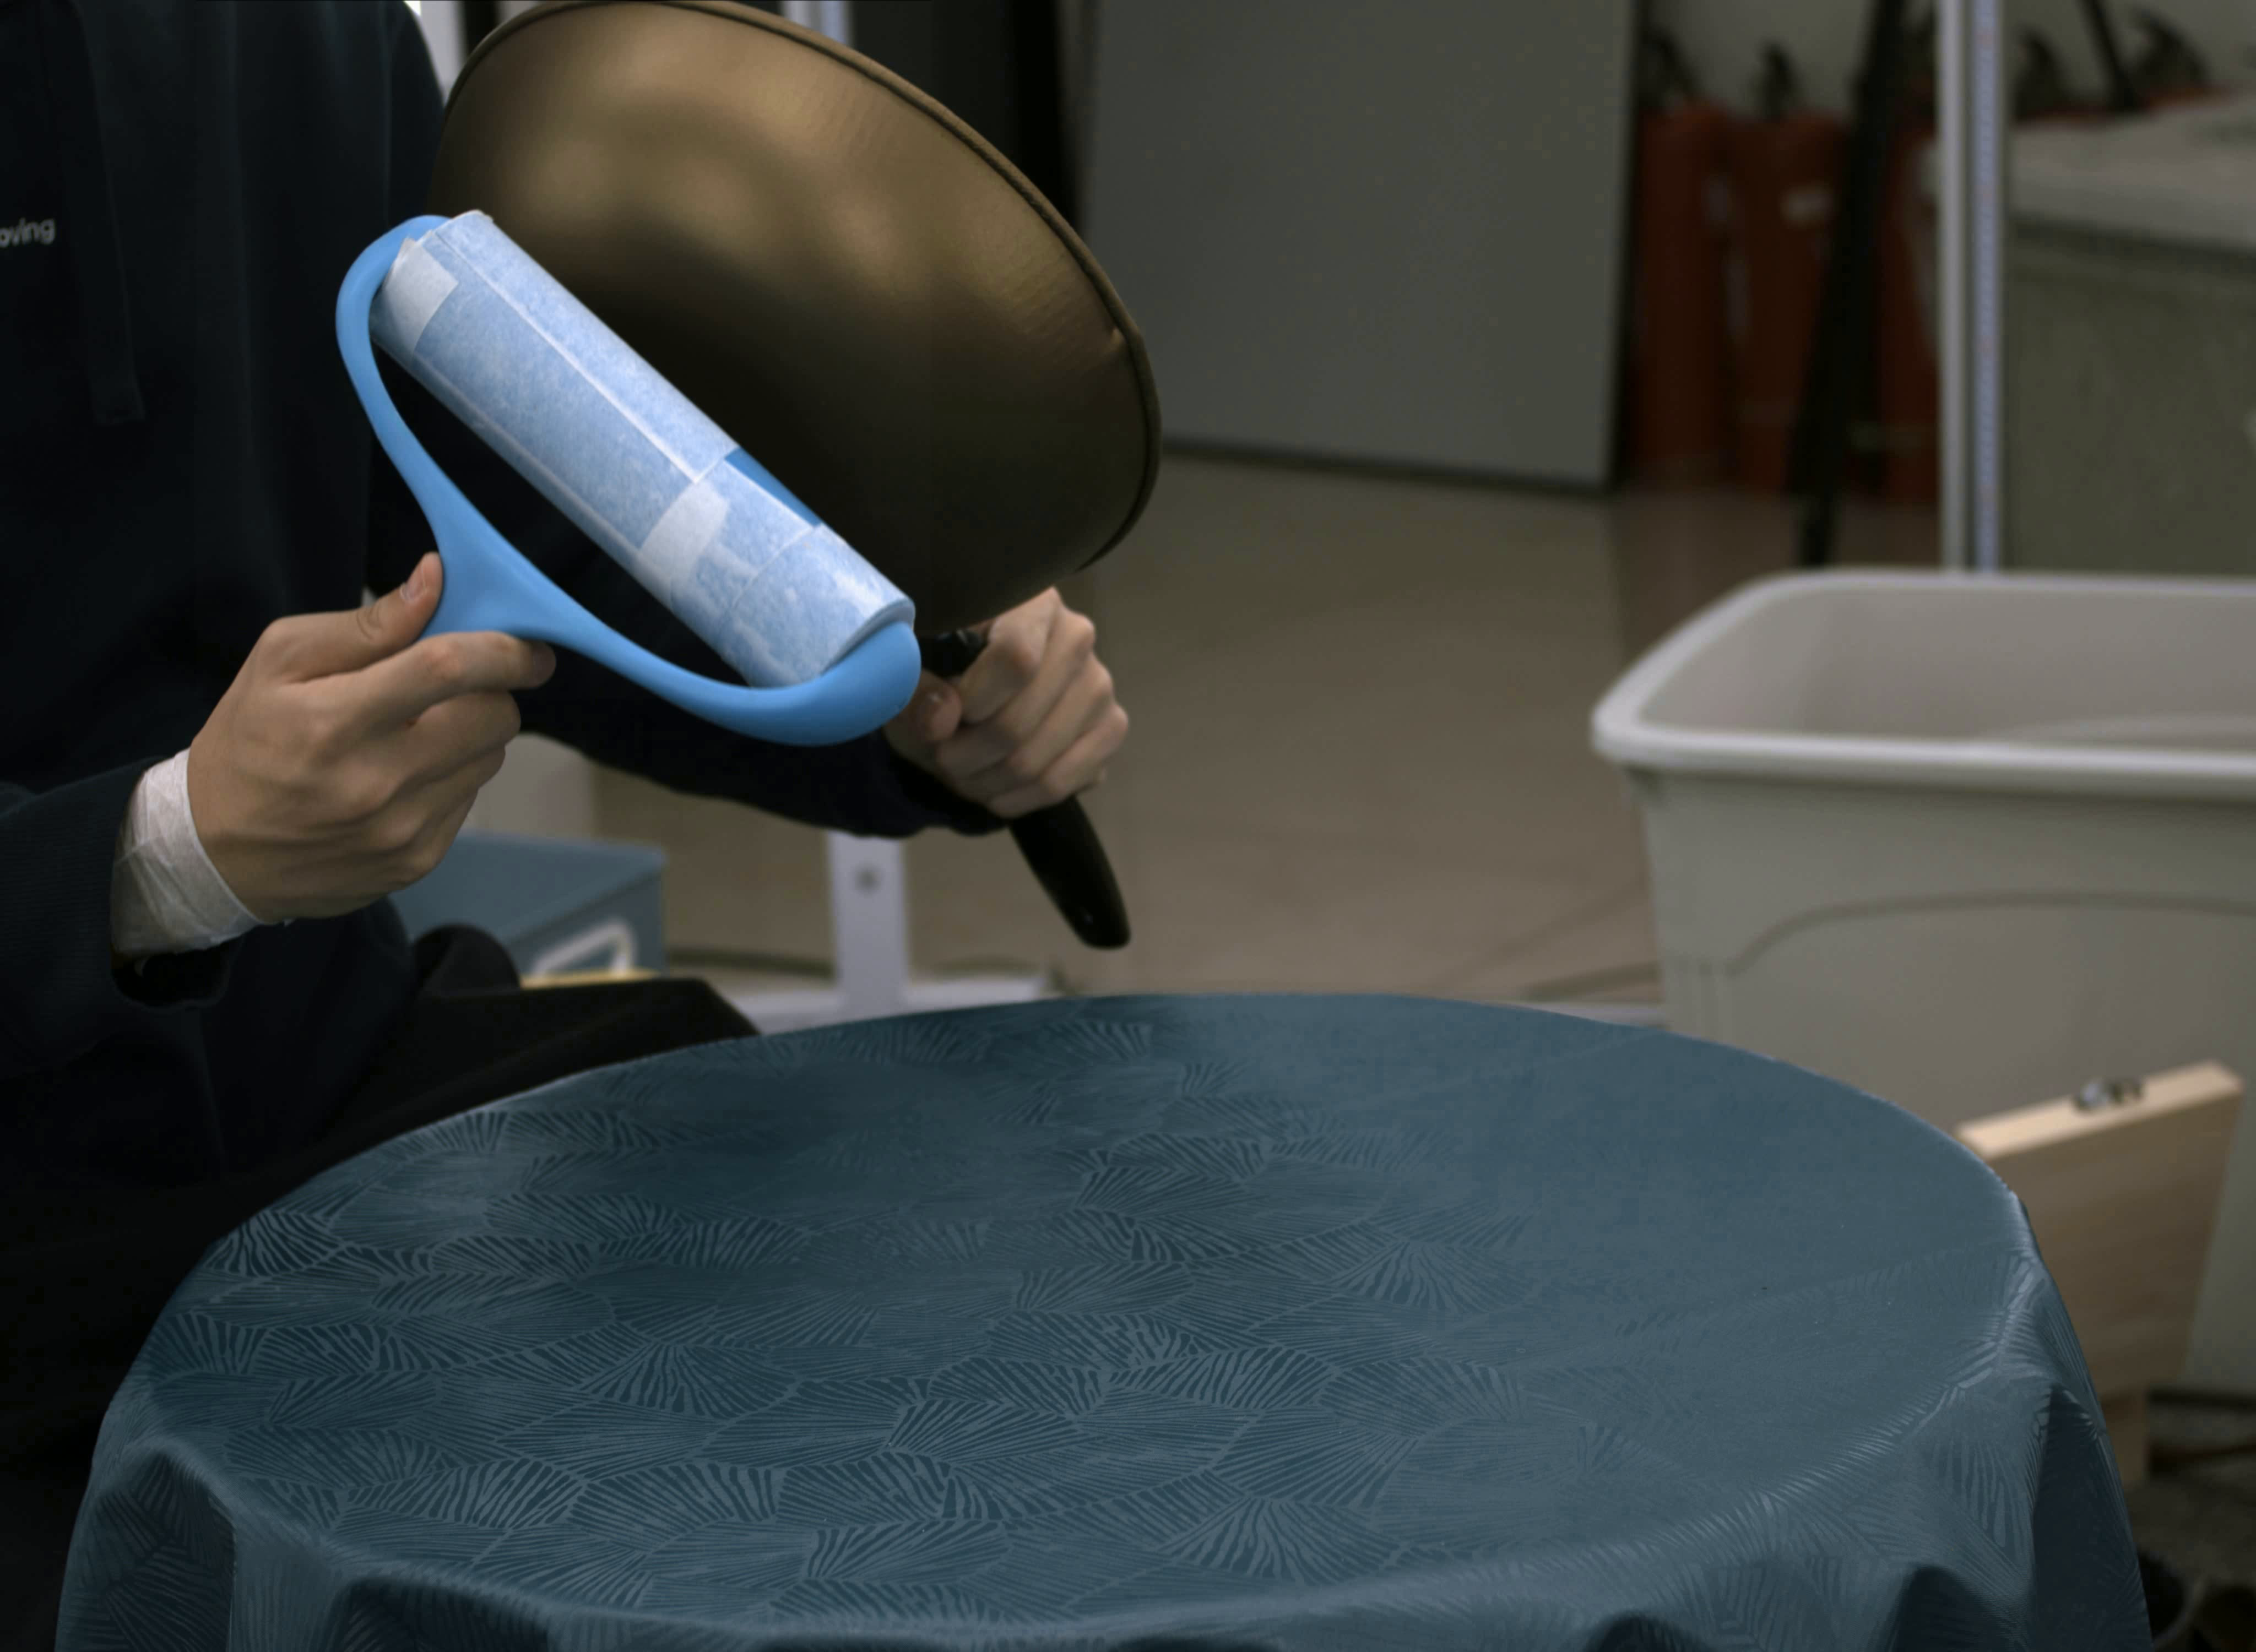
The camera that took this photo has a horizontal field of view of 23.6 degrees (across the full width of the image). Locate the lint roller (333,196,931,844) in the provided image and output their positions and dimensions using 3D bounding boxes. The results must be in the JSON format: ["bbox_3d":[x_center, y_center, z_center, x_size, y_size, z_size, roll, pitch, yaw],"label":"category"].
[{"bbox_3d":[-0.188,-0.069,1.690,0.229,0.181,0.067,38,-1,11],"label":"lint roller"}]

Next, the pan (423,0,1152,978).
[{"bbox_3d":[-0.101,-0.090,1.899,0.290,0.462,0.086,6,47,35],"label":"pan"}]
